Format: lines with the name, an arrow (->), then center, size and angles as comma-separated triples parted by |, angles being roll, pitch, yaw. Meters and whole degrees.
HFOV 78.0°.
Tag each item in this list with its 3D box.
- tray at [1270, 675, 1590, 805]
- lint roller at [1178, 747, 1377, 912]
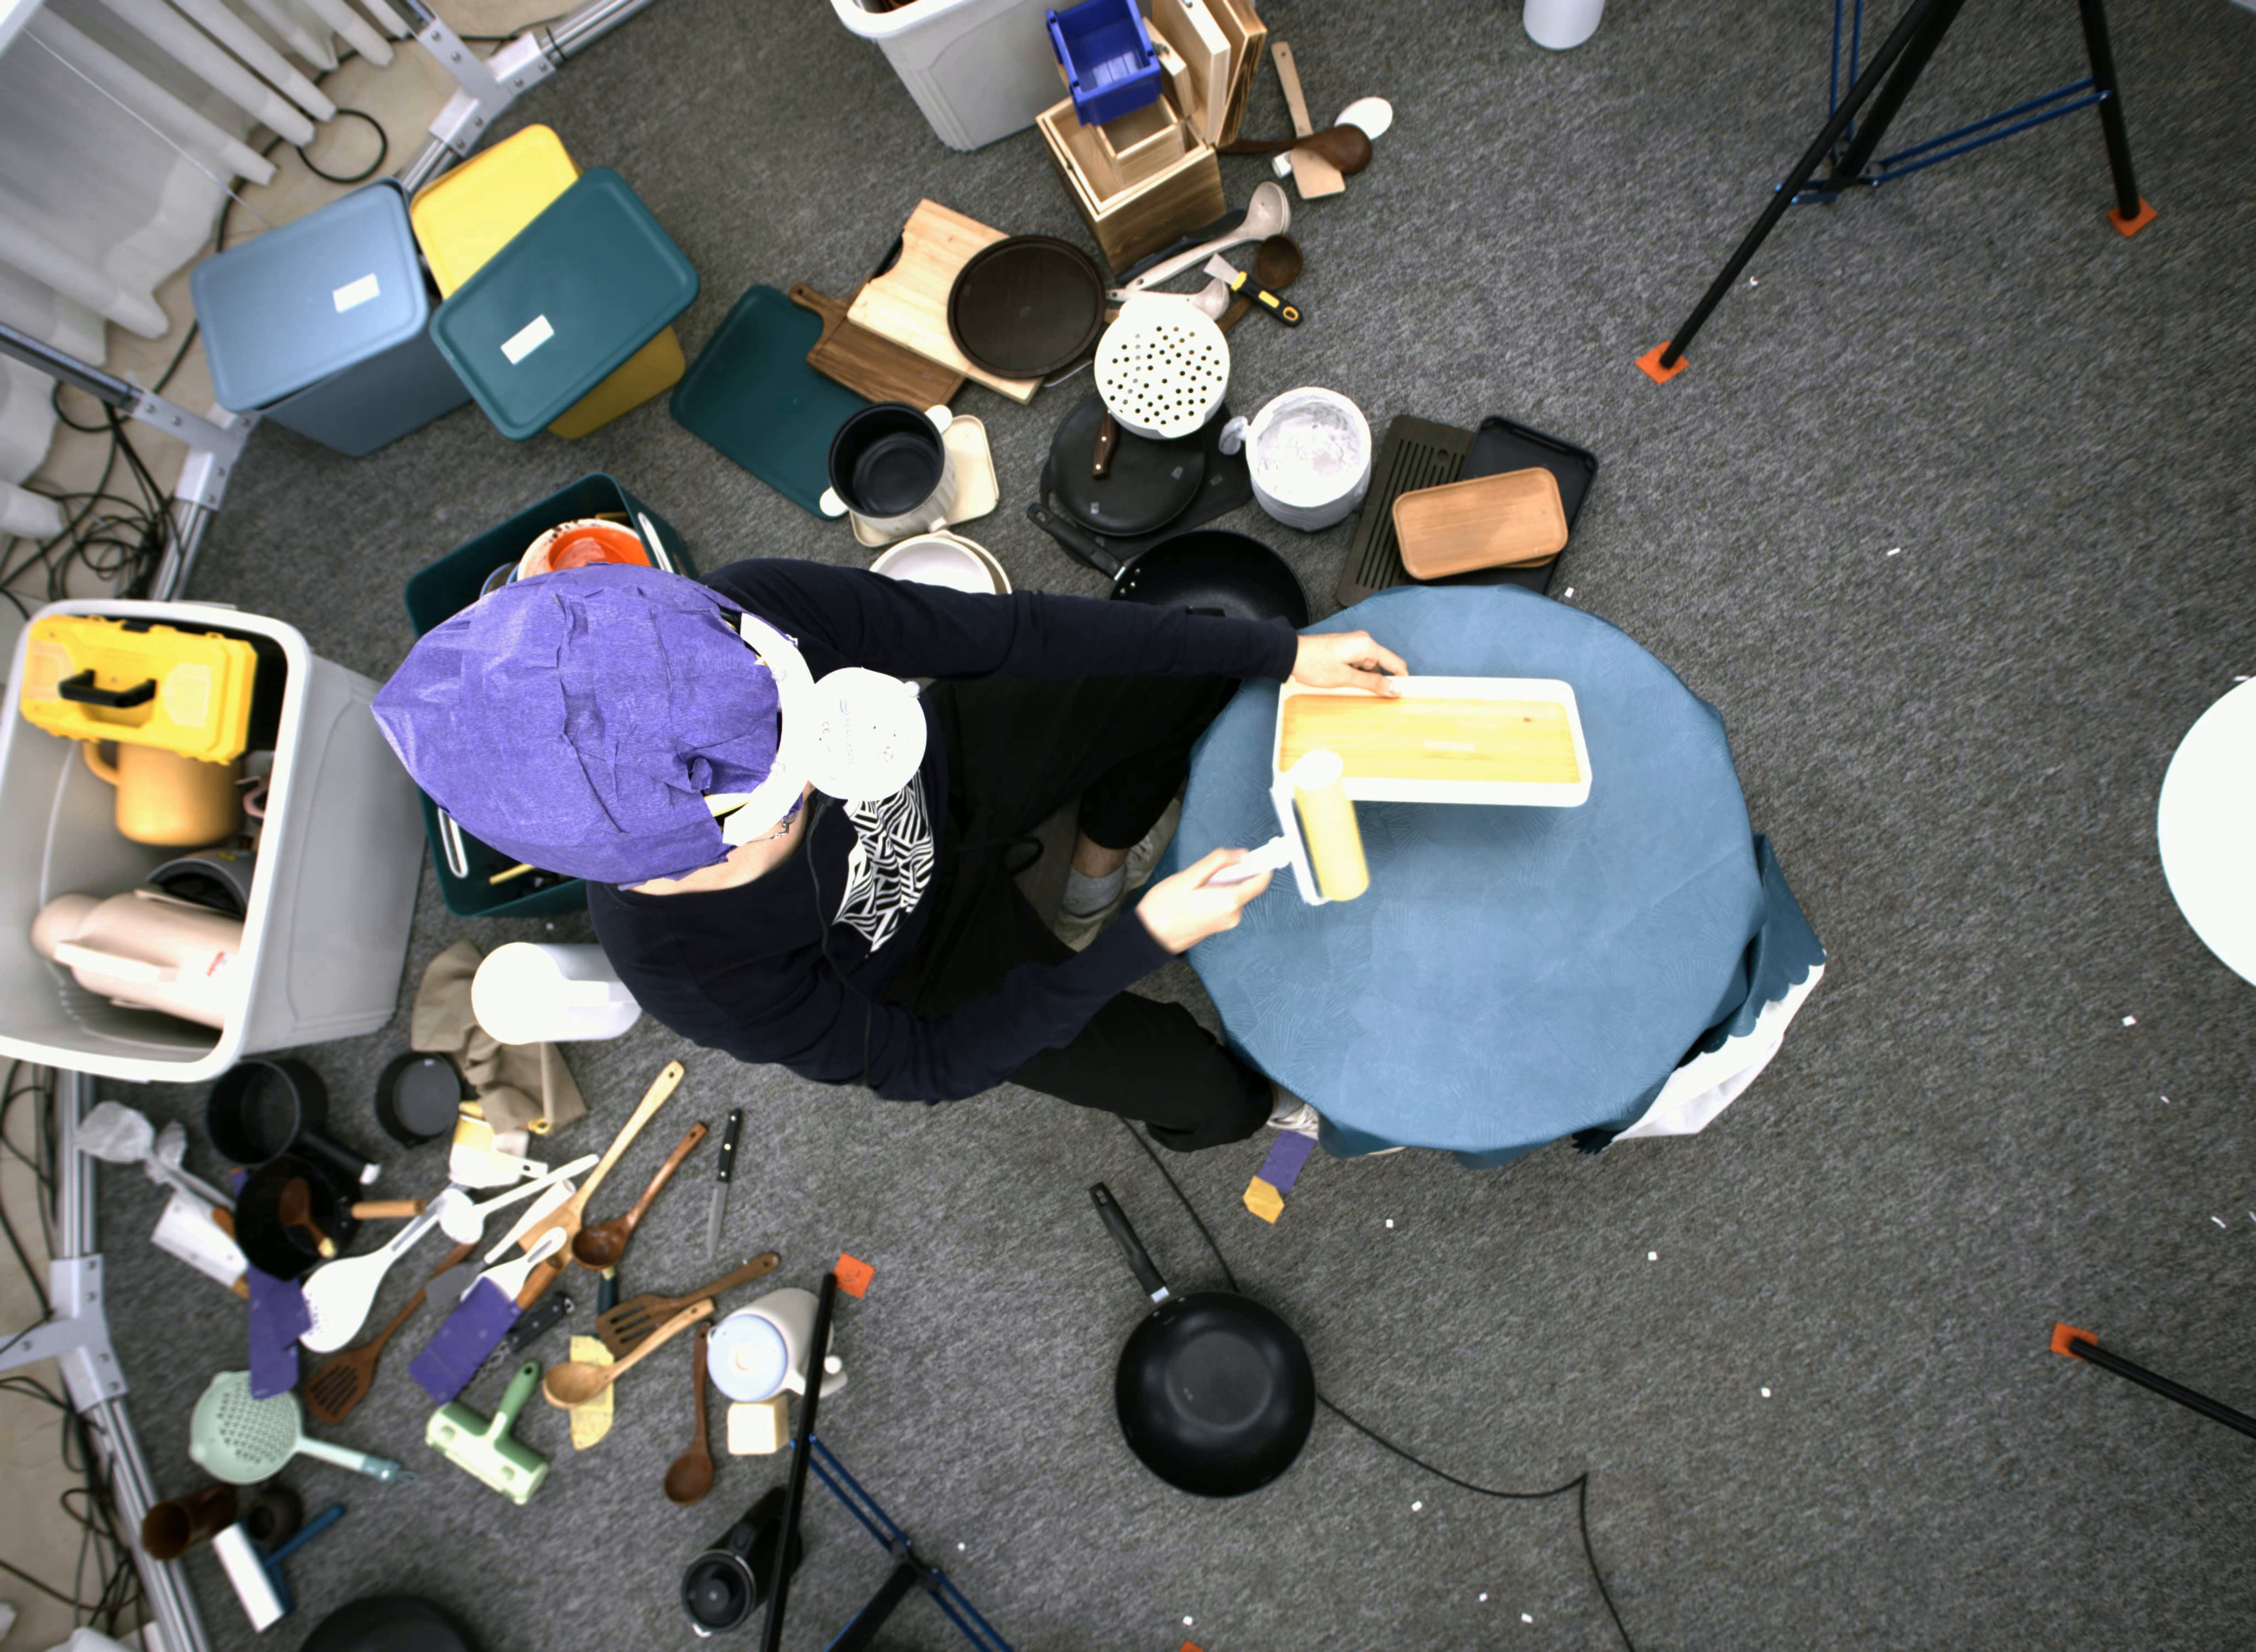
tray -> 0.297, -0.091, 1.370 | 0.301, 0.186, 0.028 | 2, 128, 10
lint roller -> 0.139, 0.035, 1.313 | 0.191, 0.178, 0.050 | -32, 44, -7
